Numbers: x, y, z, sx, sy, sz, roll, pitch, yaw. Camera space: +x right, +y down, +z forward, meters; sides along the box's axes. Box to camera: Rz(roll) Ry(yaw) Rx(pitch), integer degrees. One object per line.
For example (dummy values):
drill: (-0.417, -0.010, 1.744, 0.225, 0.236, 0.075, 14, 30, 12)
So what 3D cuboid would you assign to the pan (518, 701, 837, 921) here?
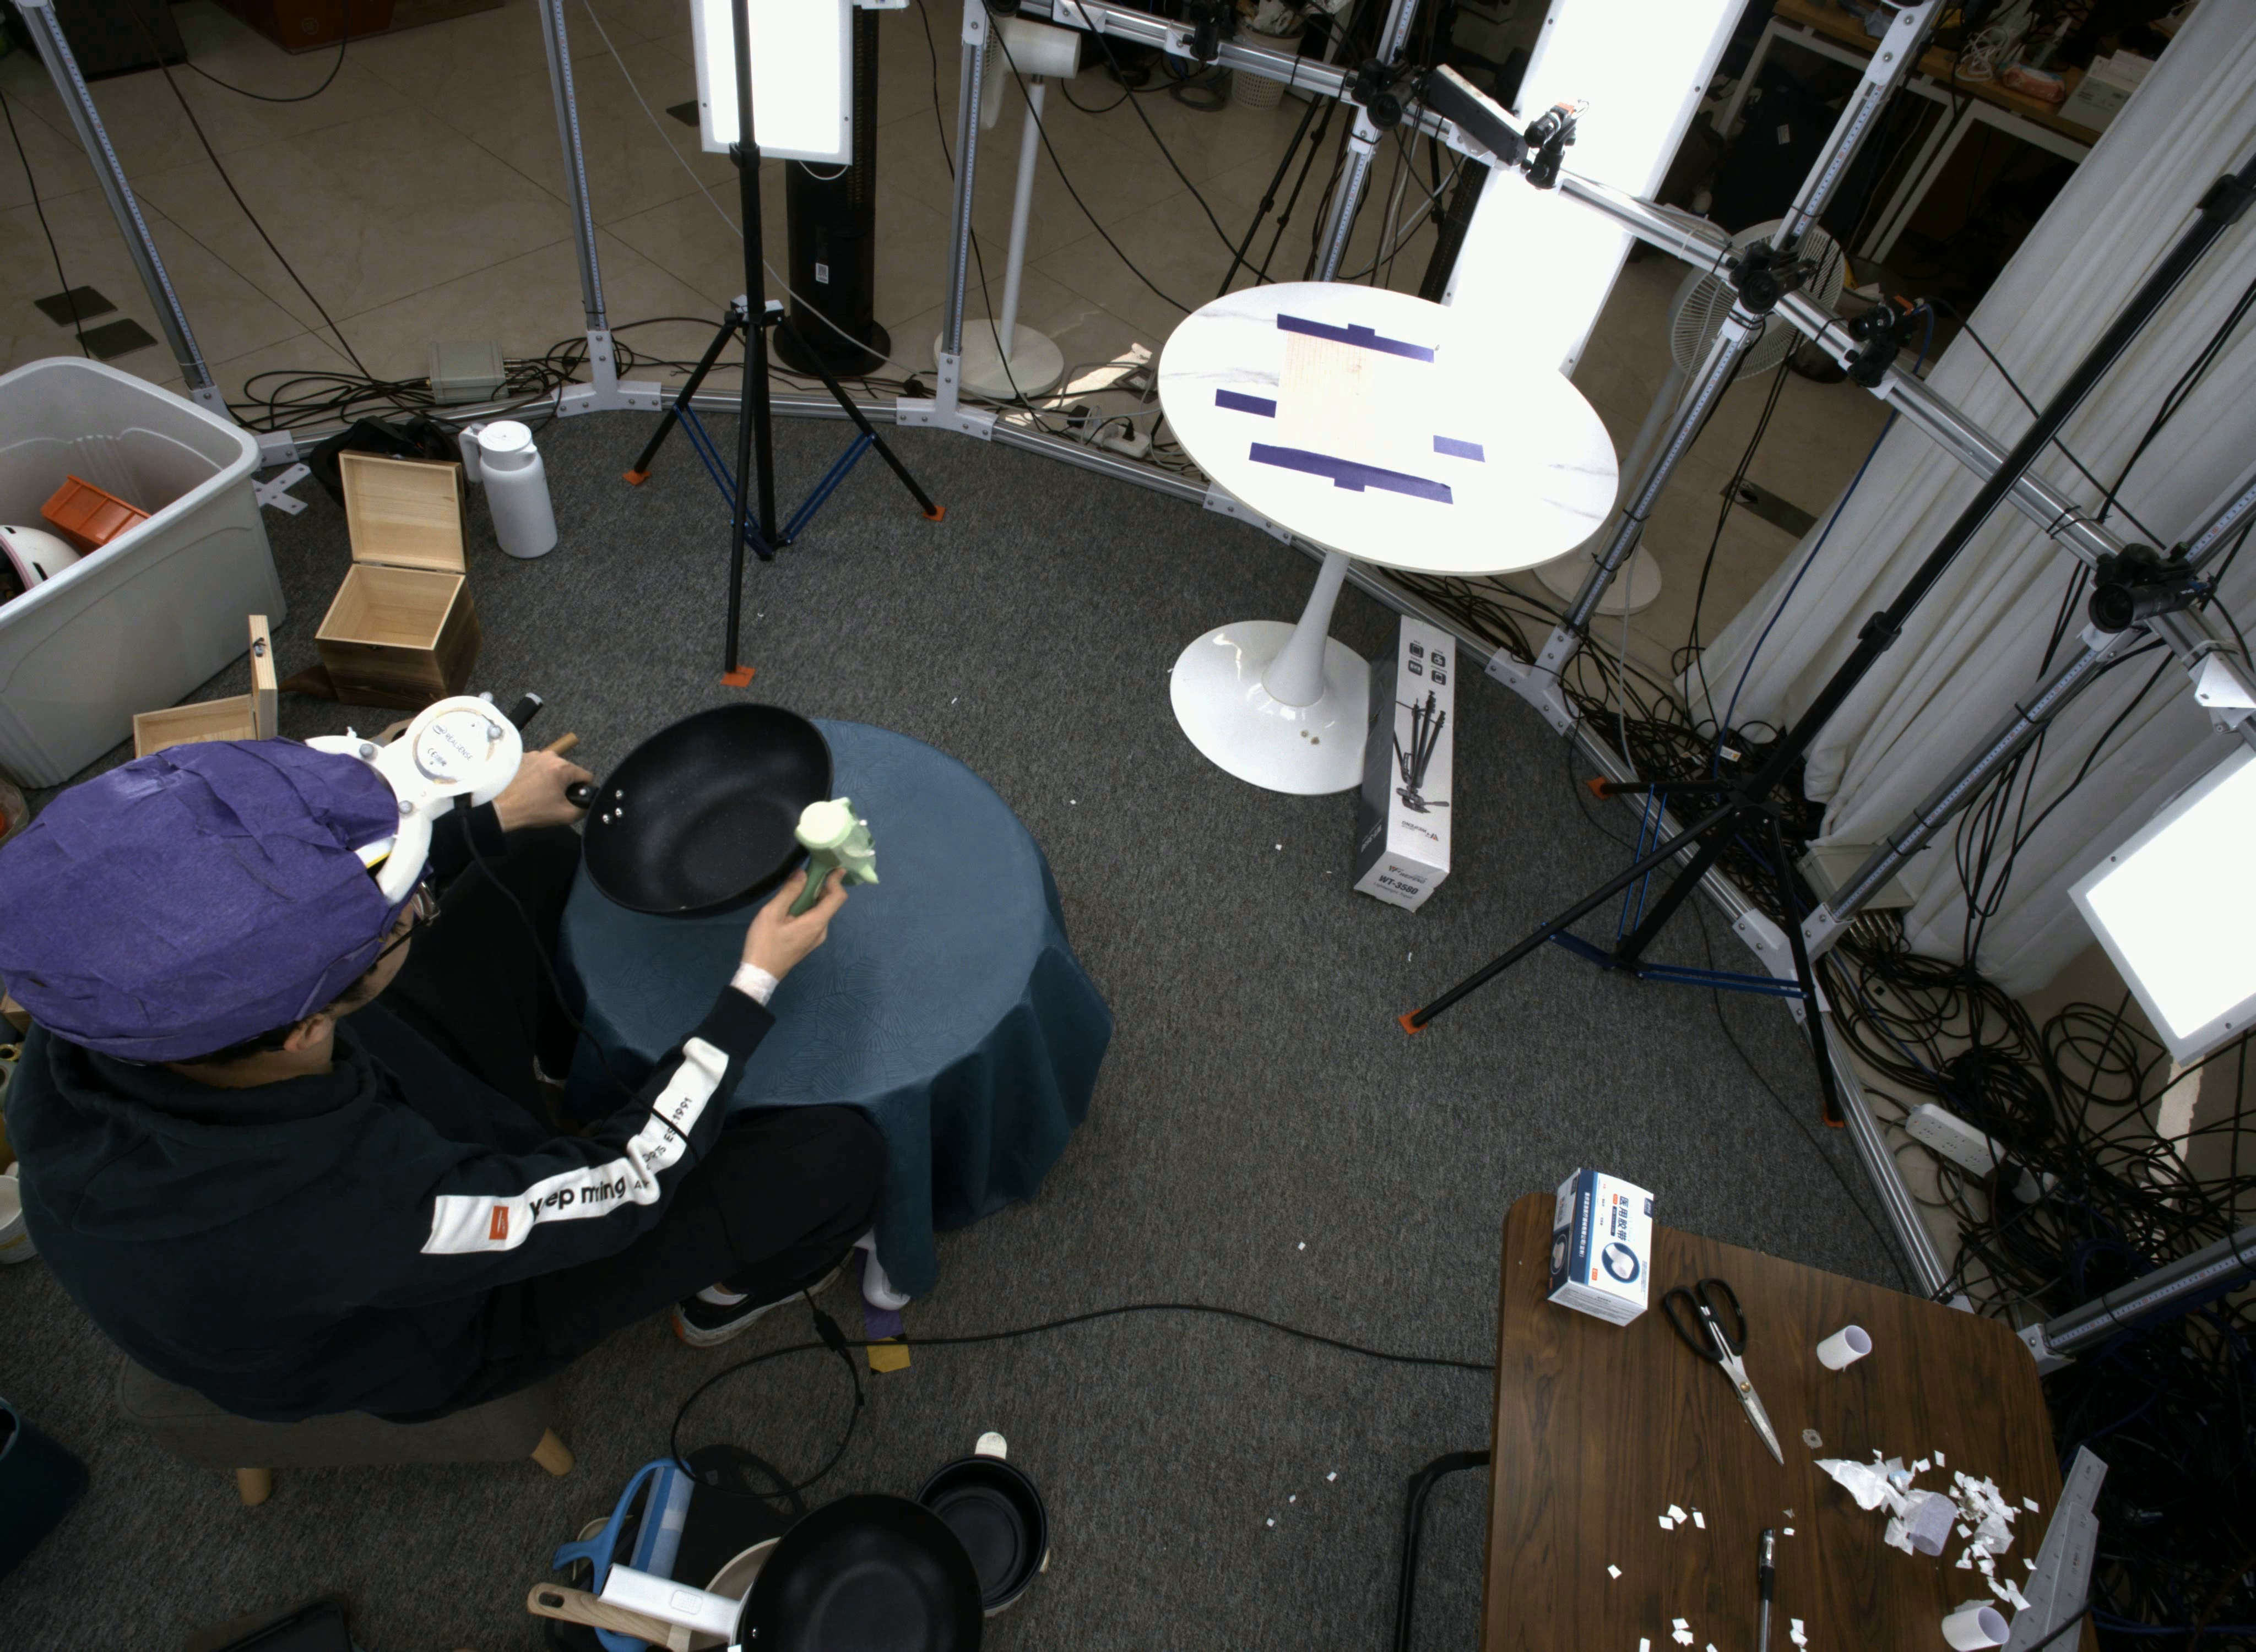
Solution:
pan: (-0.555, -0.018, 1.526, 0.465, 0.115, 0.307, 4, 54, 14)

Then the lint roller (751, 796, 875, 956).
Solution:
lint roller: (-0.347, 0.071, 1.450, 0.081, 0.200, 0.183, 23, 77, 4)
